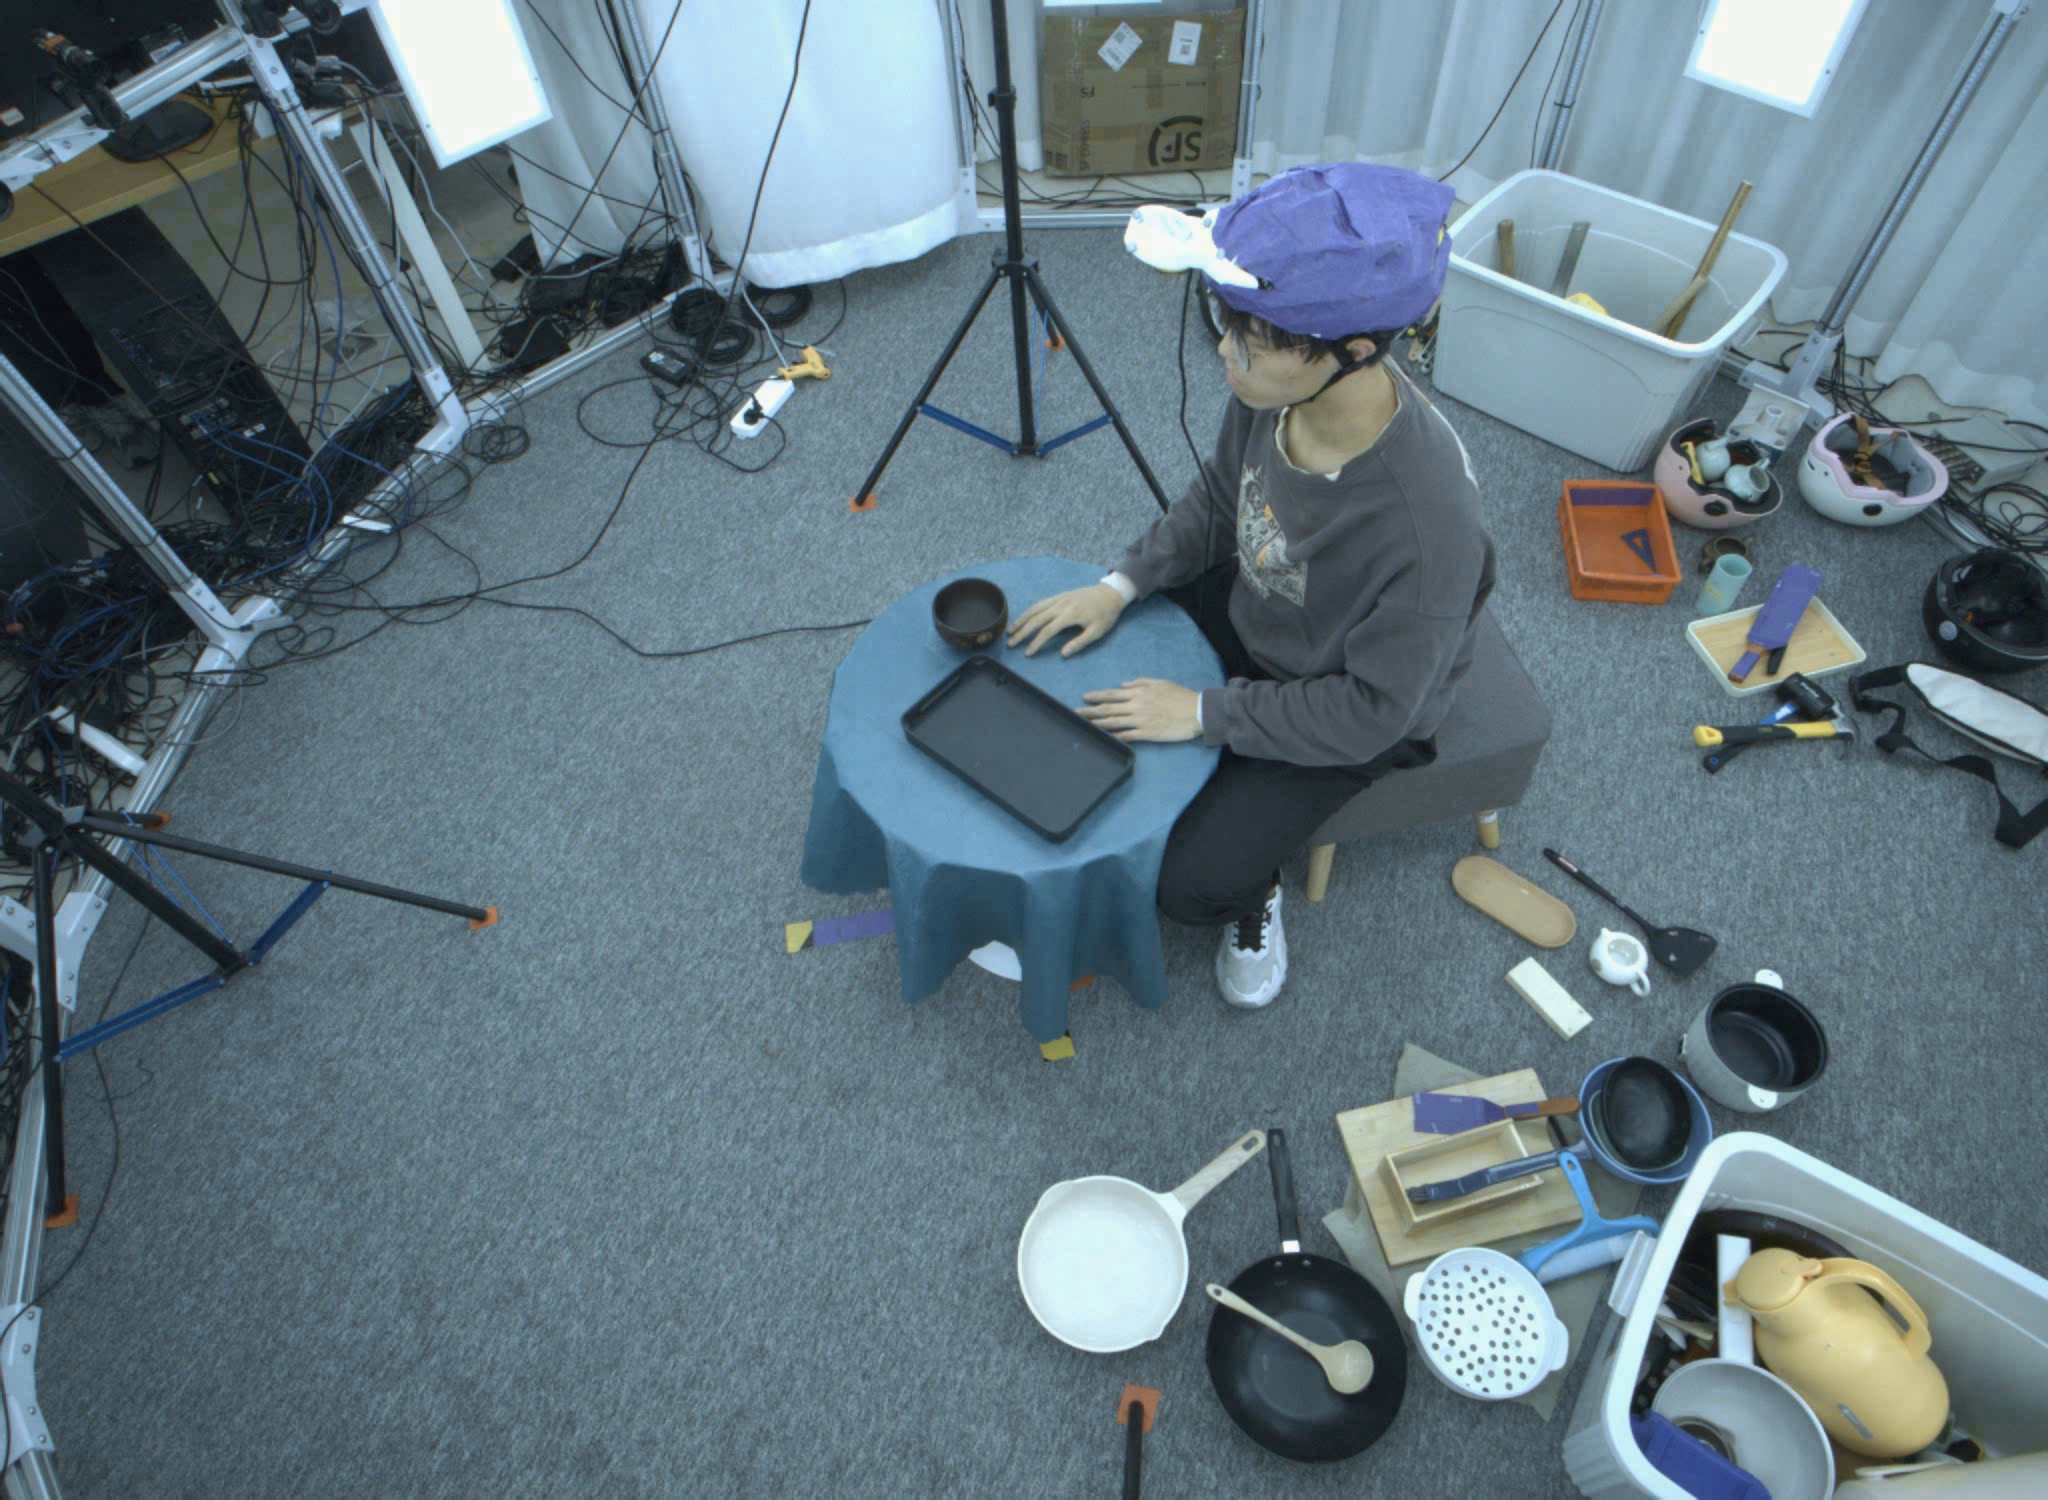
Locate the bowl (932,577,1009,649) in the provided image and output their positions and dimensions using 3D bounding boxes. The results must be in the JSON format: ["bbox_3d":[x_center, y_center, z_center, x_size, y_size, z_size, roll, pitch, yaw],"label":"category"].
[{"bbox_3d":[-0.082,-0.203,1.889,0.118,0.070,0.117,0,54,1],"label":"bowl"}]

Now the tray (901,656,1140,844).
[{"bbox_3d":[-0.007,-0.005,1.767,0.312,0.037,0.185,32,61,23],"label":"tray"}]
